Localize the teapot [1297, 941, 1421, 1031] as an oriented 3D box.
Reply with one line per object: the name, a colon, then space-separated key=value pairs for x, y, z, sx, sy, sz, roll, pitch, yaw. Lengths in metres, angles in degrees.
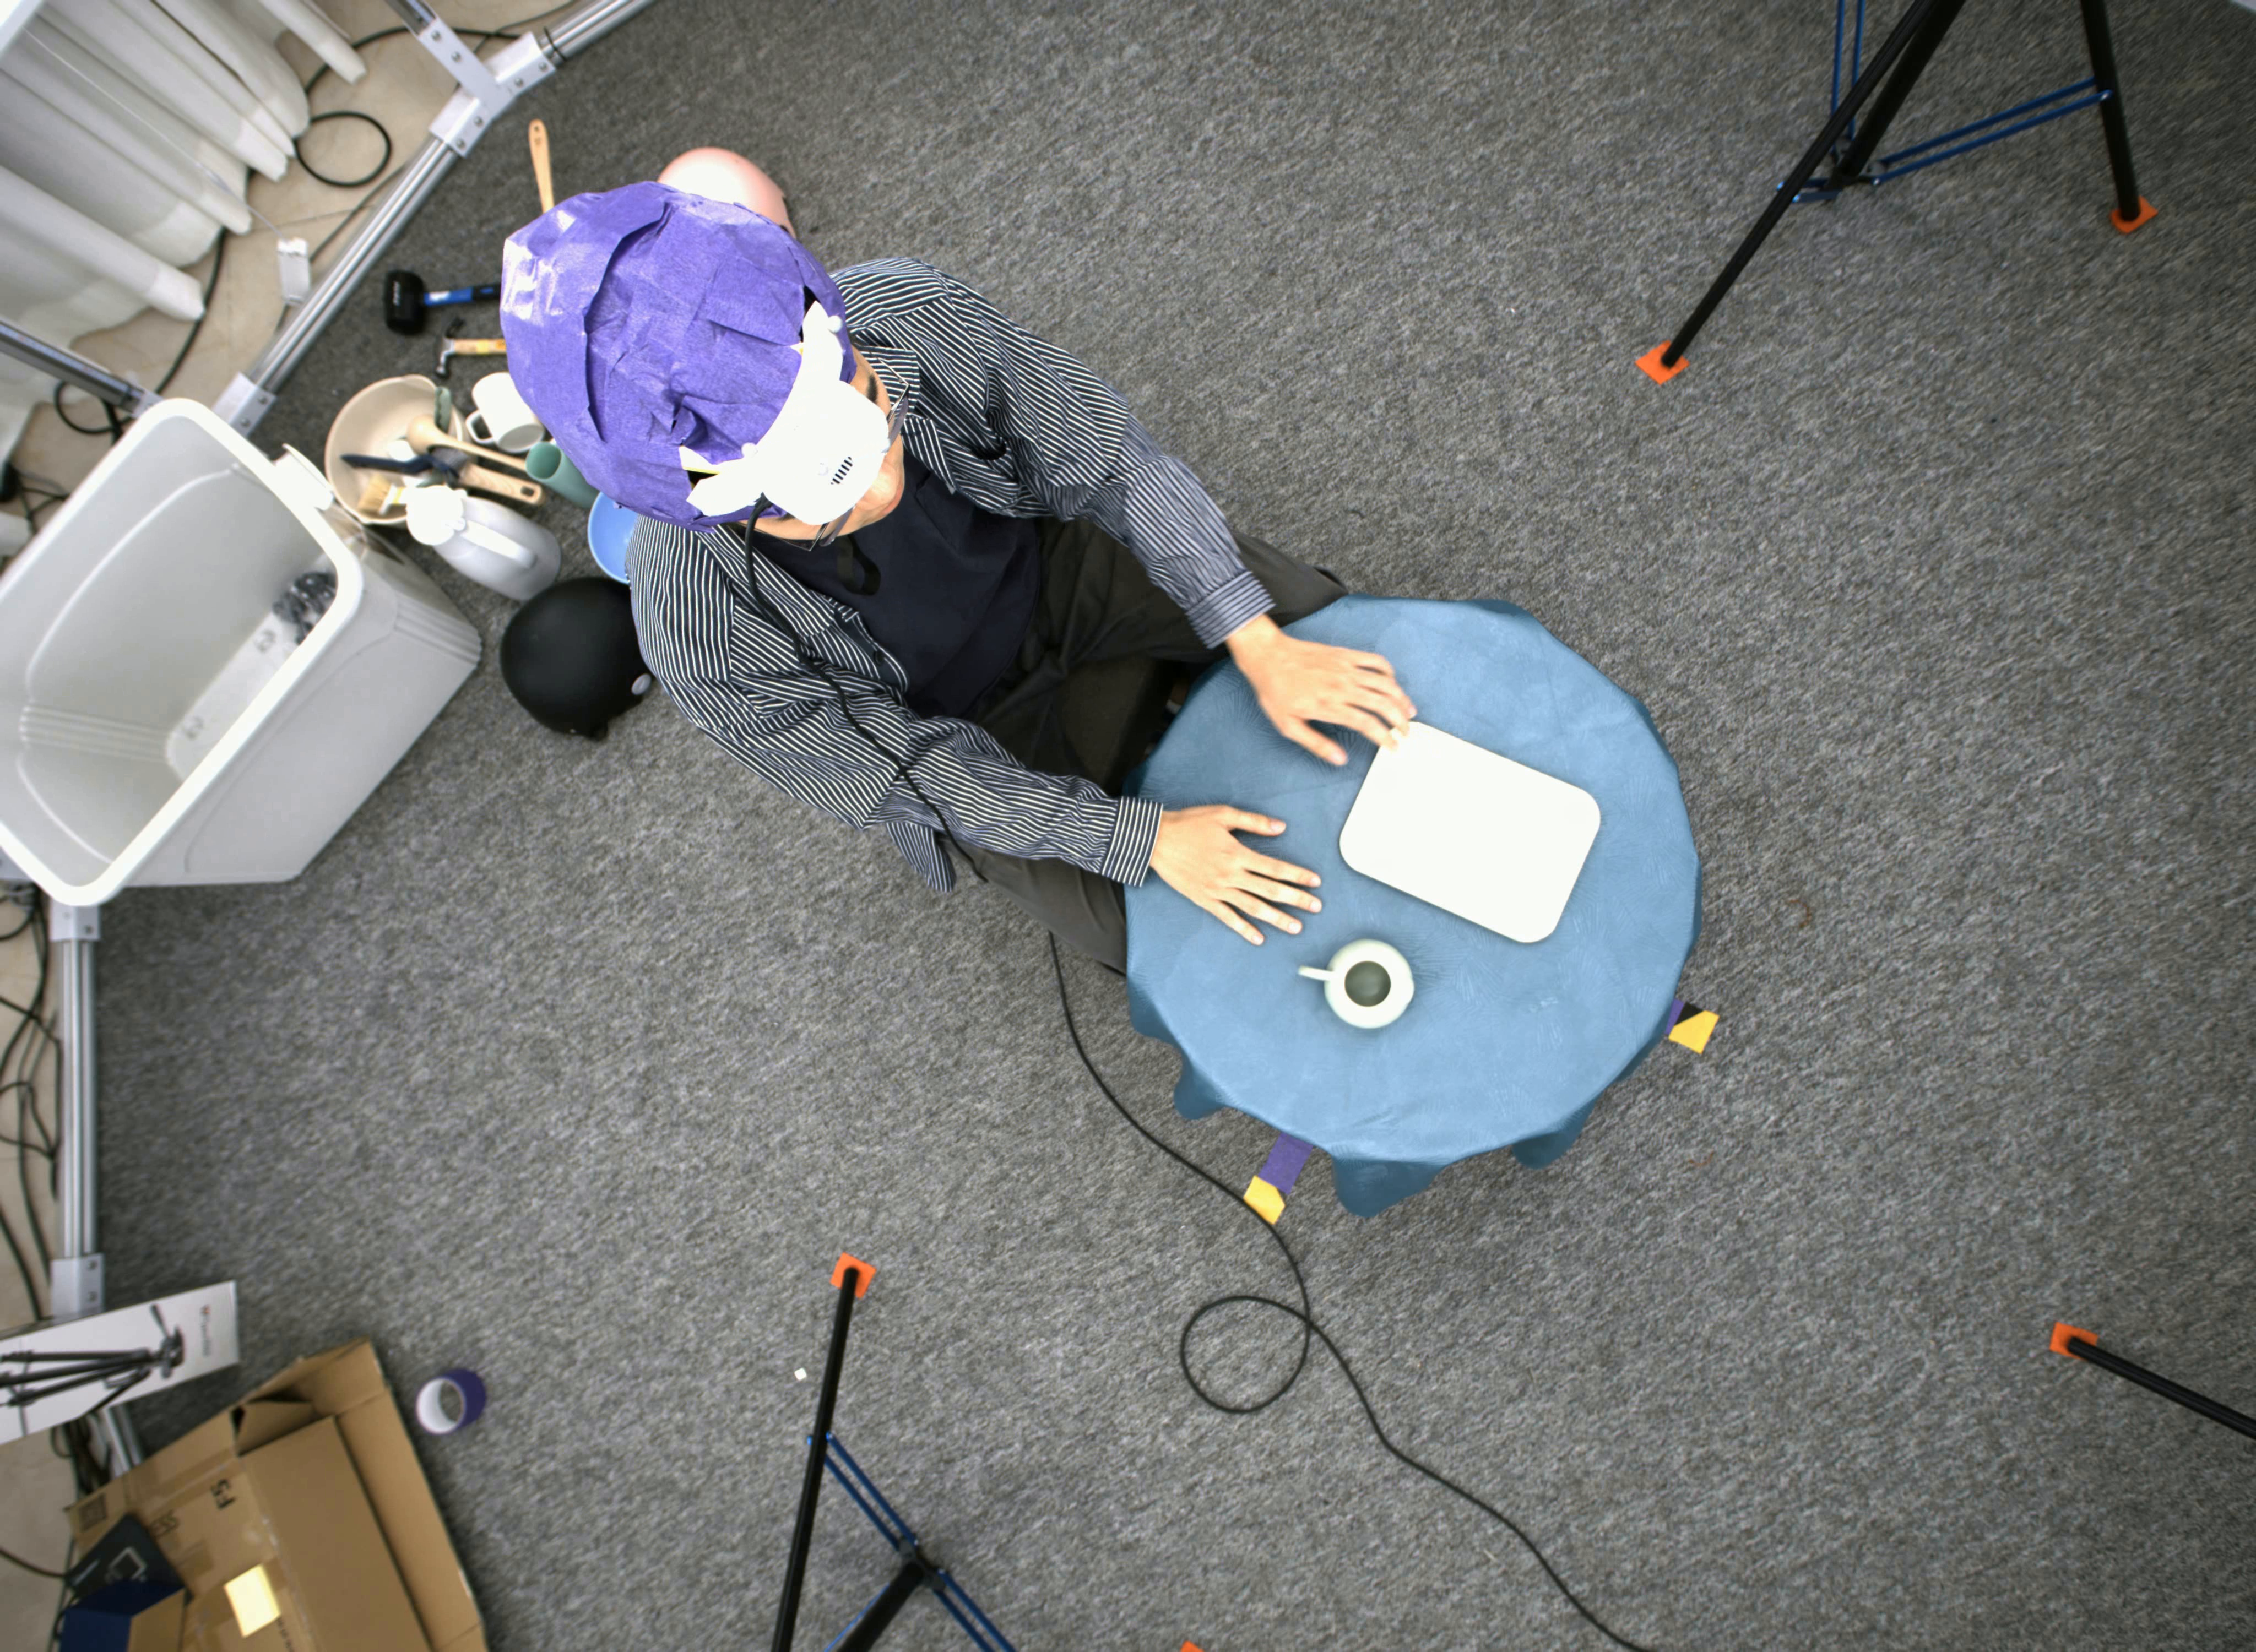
teapot: x=0.237 y=0.160 z=1.421 sx=0.128 sy=0.061 sz=0.091 roll=14 pitch=91 yaw=11

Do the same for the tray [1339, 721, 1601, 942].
tray: x=0.353 y=0.003 z=1.427 sx=0.239 sy=0.017 sz=0.171 roll=24 pitch=91 yaw=10
